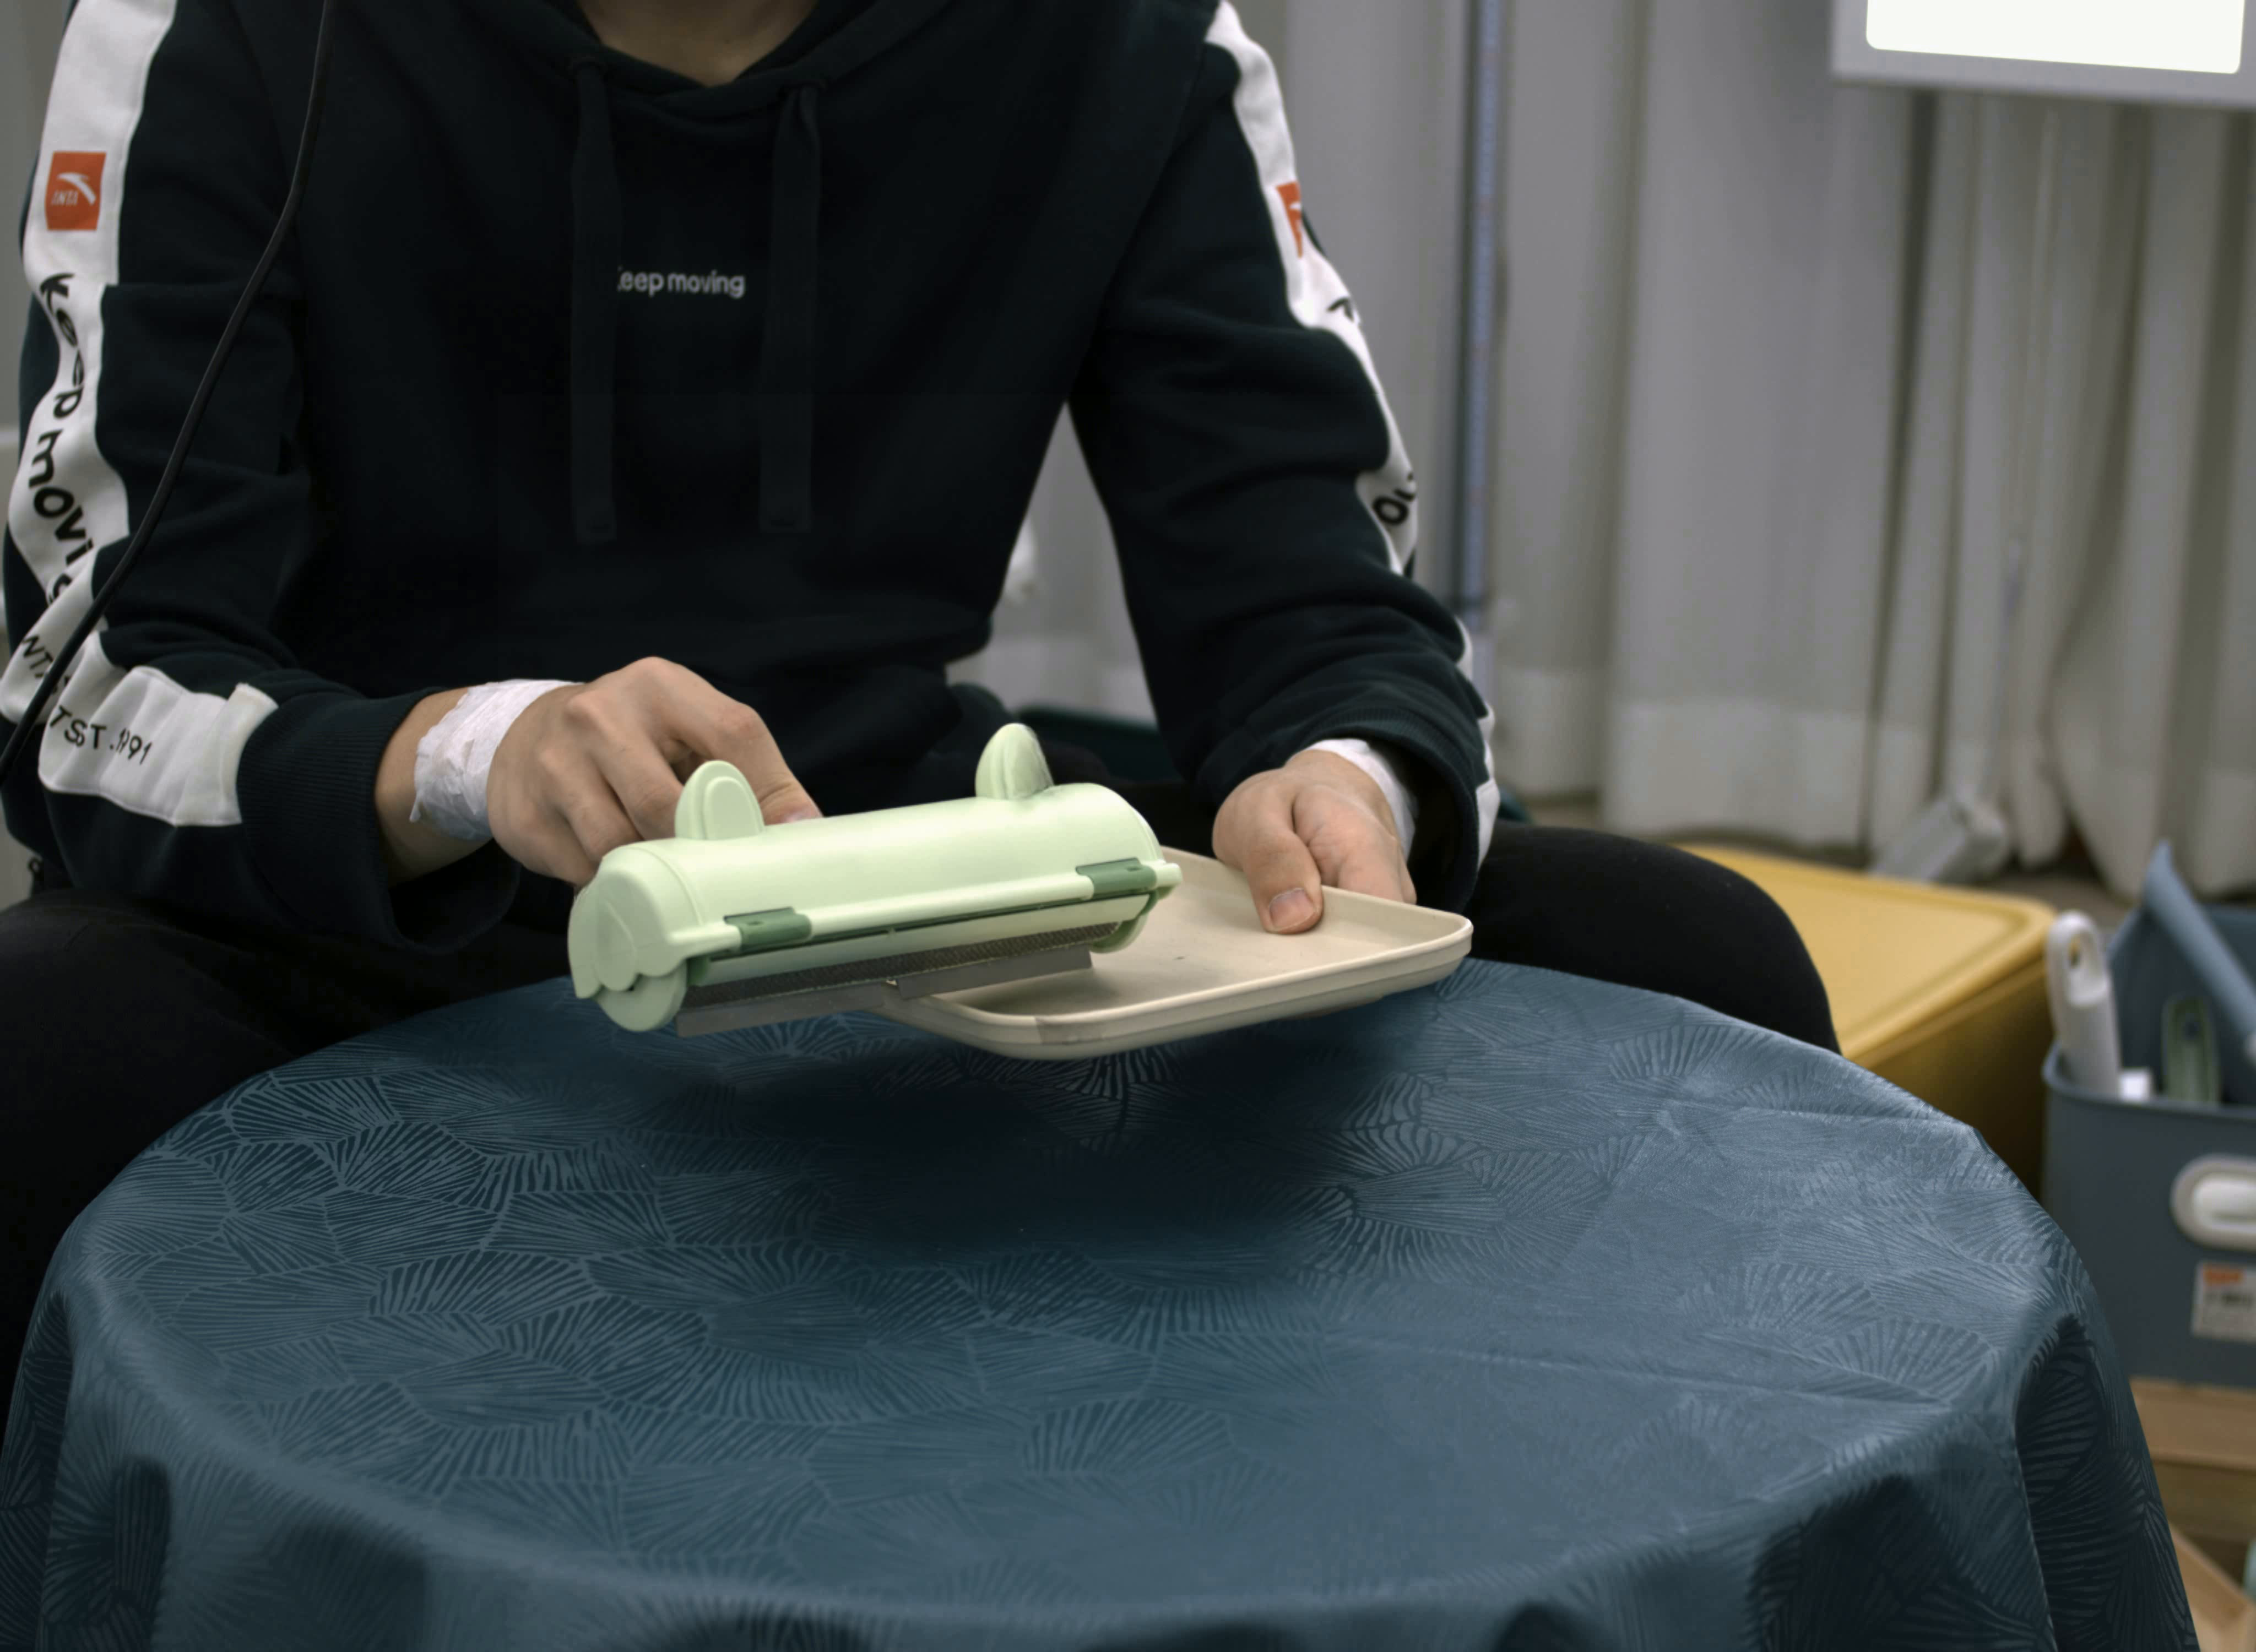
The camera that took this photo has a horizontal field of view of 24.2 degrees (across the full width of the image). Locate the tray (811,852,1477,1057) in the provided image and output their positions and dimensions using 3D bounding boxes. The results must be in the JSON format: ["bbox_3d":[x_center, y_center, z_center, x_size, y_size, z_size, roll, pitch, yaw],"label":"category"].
[{"bbox_3d":[-0.014,0.039,1.656,0.172,0.017,0.237,-10,11,-30],"label":"tray"}]

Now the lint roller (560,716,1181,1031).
[{"bbox_3d":[-0.111,-0.001,1.598,0.200,0.083,0.181,-9,23,-42],"label":"lint roller"}]
